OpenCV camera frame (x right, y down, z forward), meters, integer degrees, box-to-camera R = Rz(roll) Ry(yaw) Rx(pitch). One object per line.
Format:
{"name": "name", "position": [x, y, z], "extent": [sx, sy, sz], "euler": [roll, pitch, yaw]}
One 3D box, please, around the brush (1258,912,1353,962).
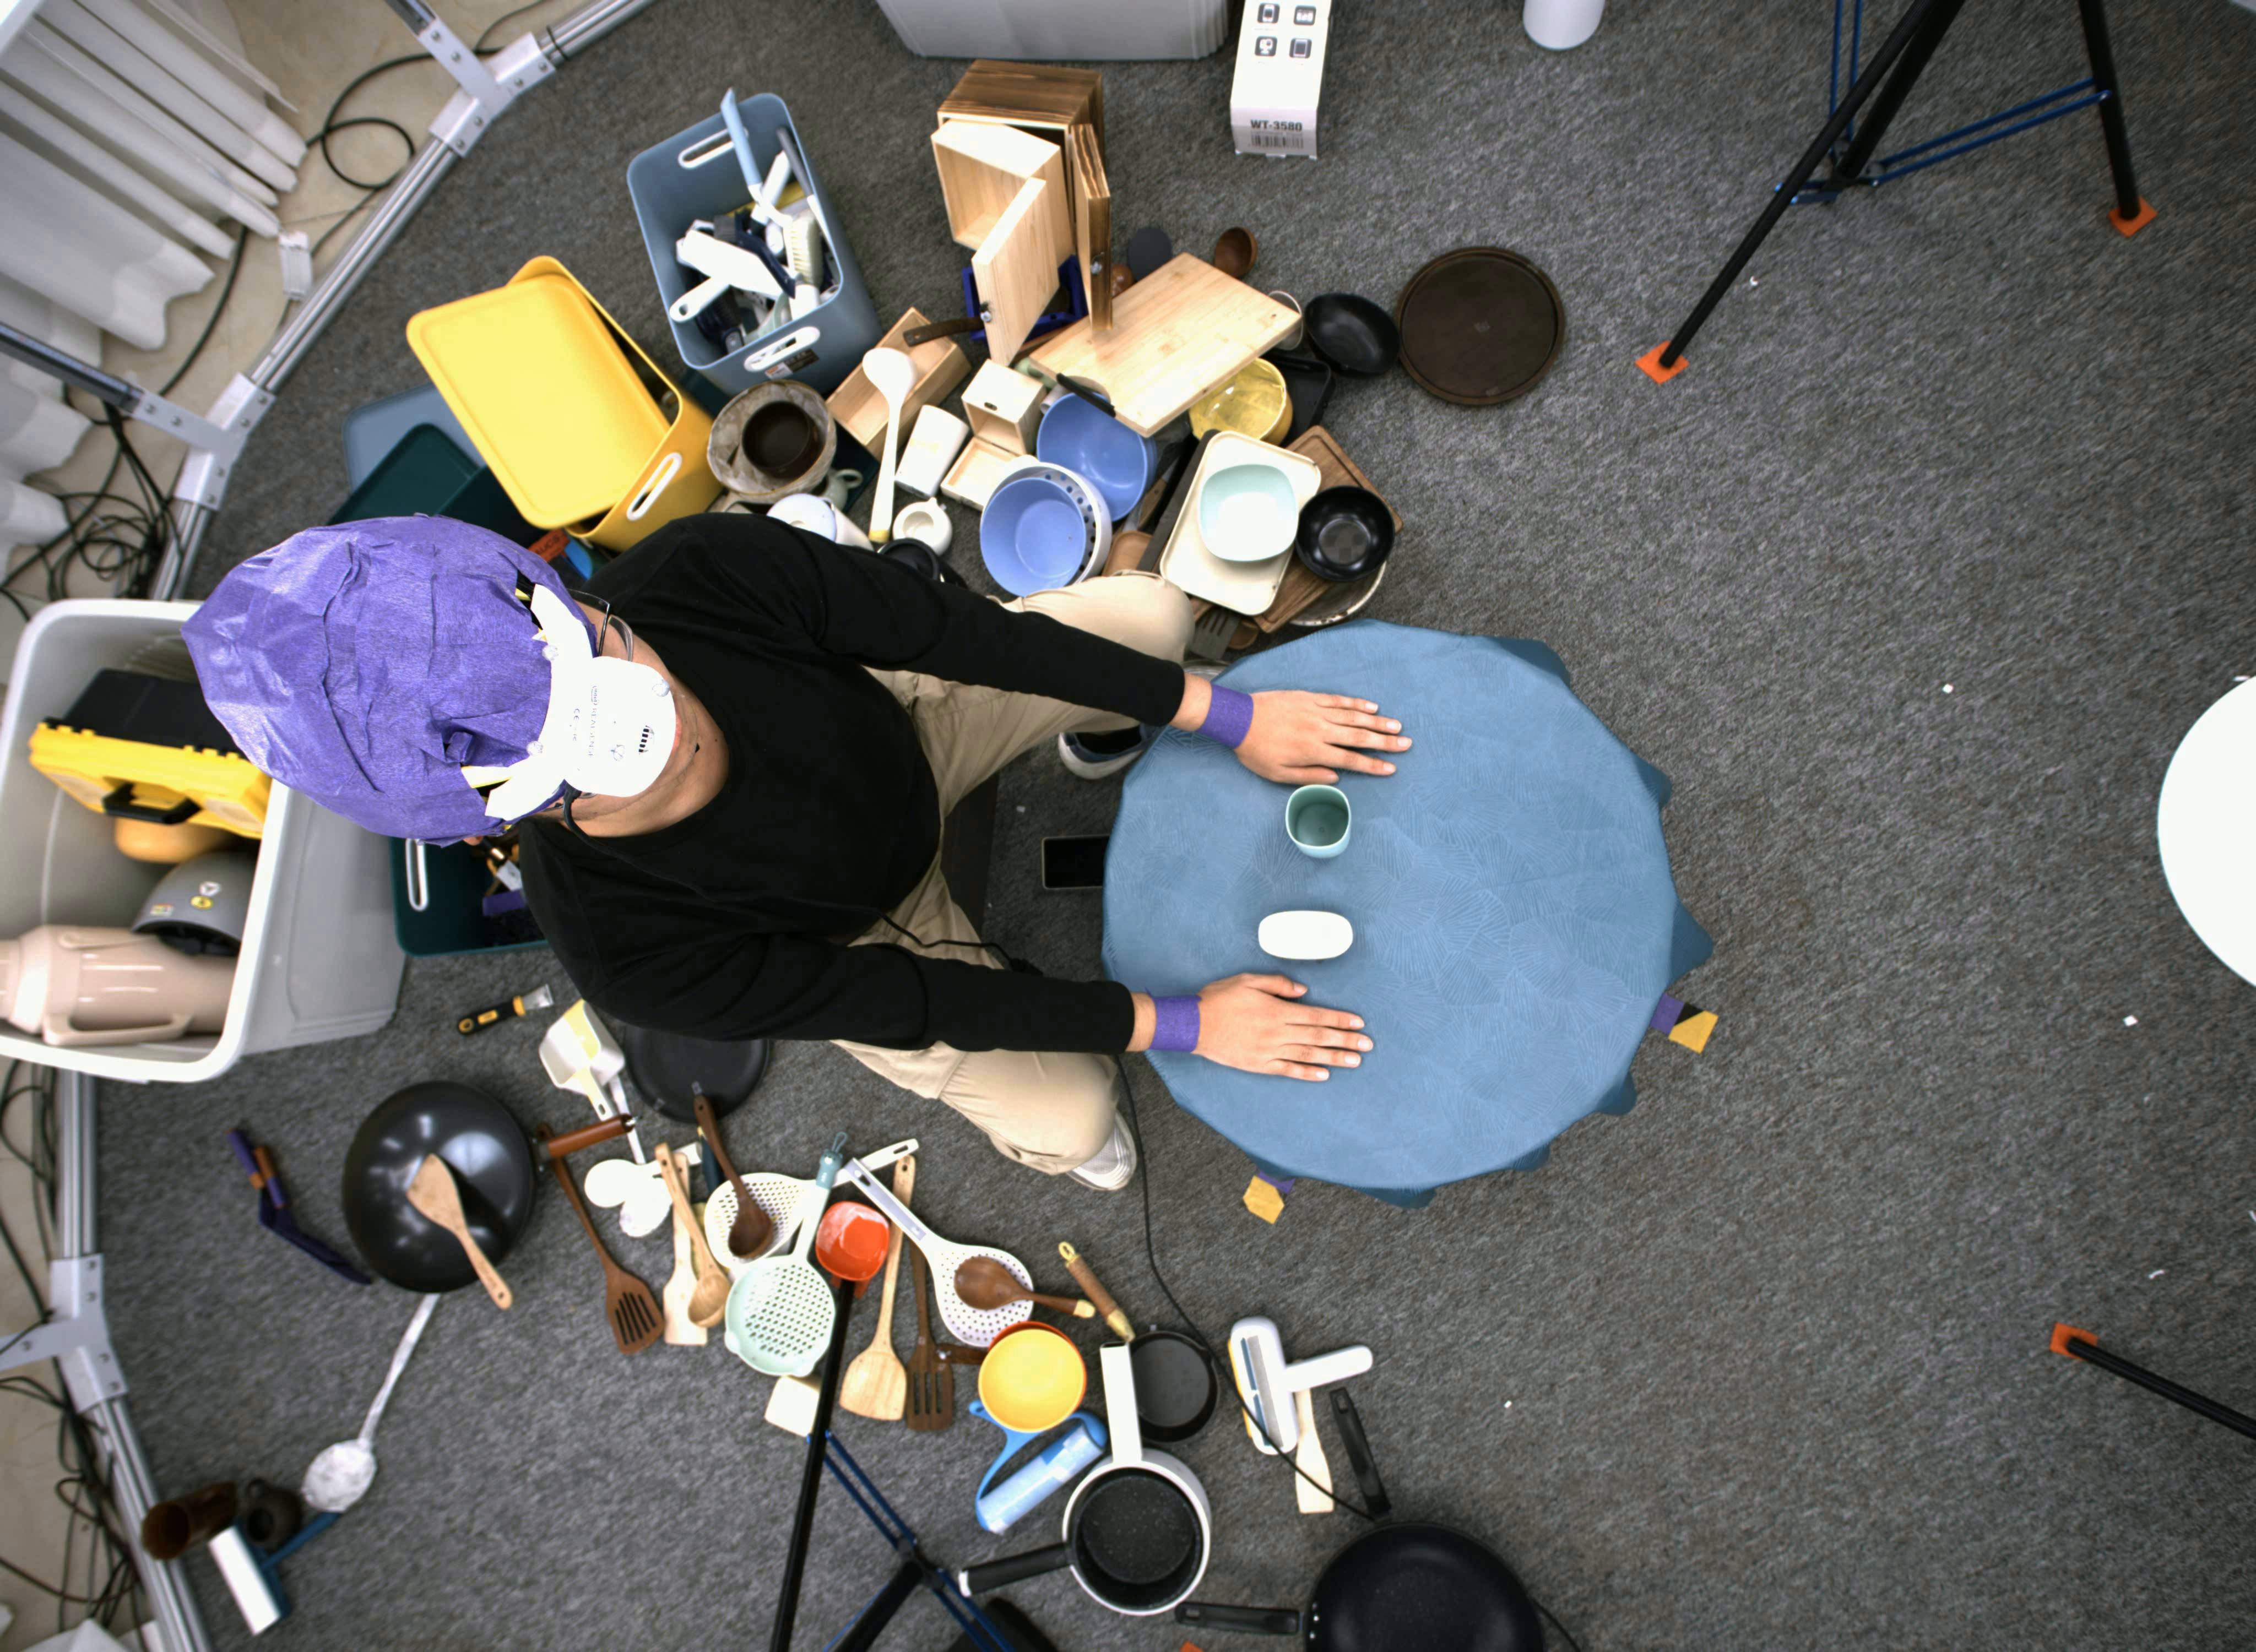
{"name": "brush", "position": [0.183, 0.113, 1.435], "extent": [0.099, 0.072, 0.050], "euler": [2, 84, 9]}

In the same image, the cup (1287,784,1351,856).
{"name": "cup", "position": [0.196, -0.004, 1.414], "extent": [0.067, 0.132, 0.066], "euler": [-1, 85, 9]}
